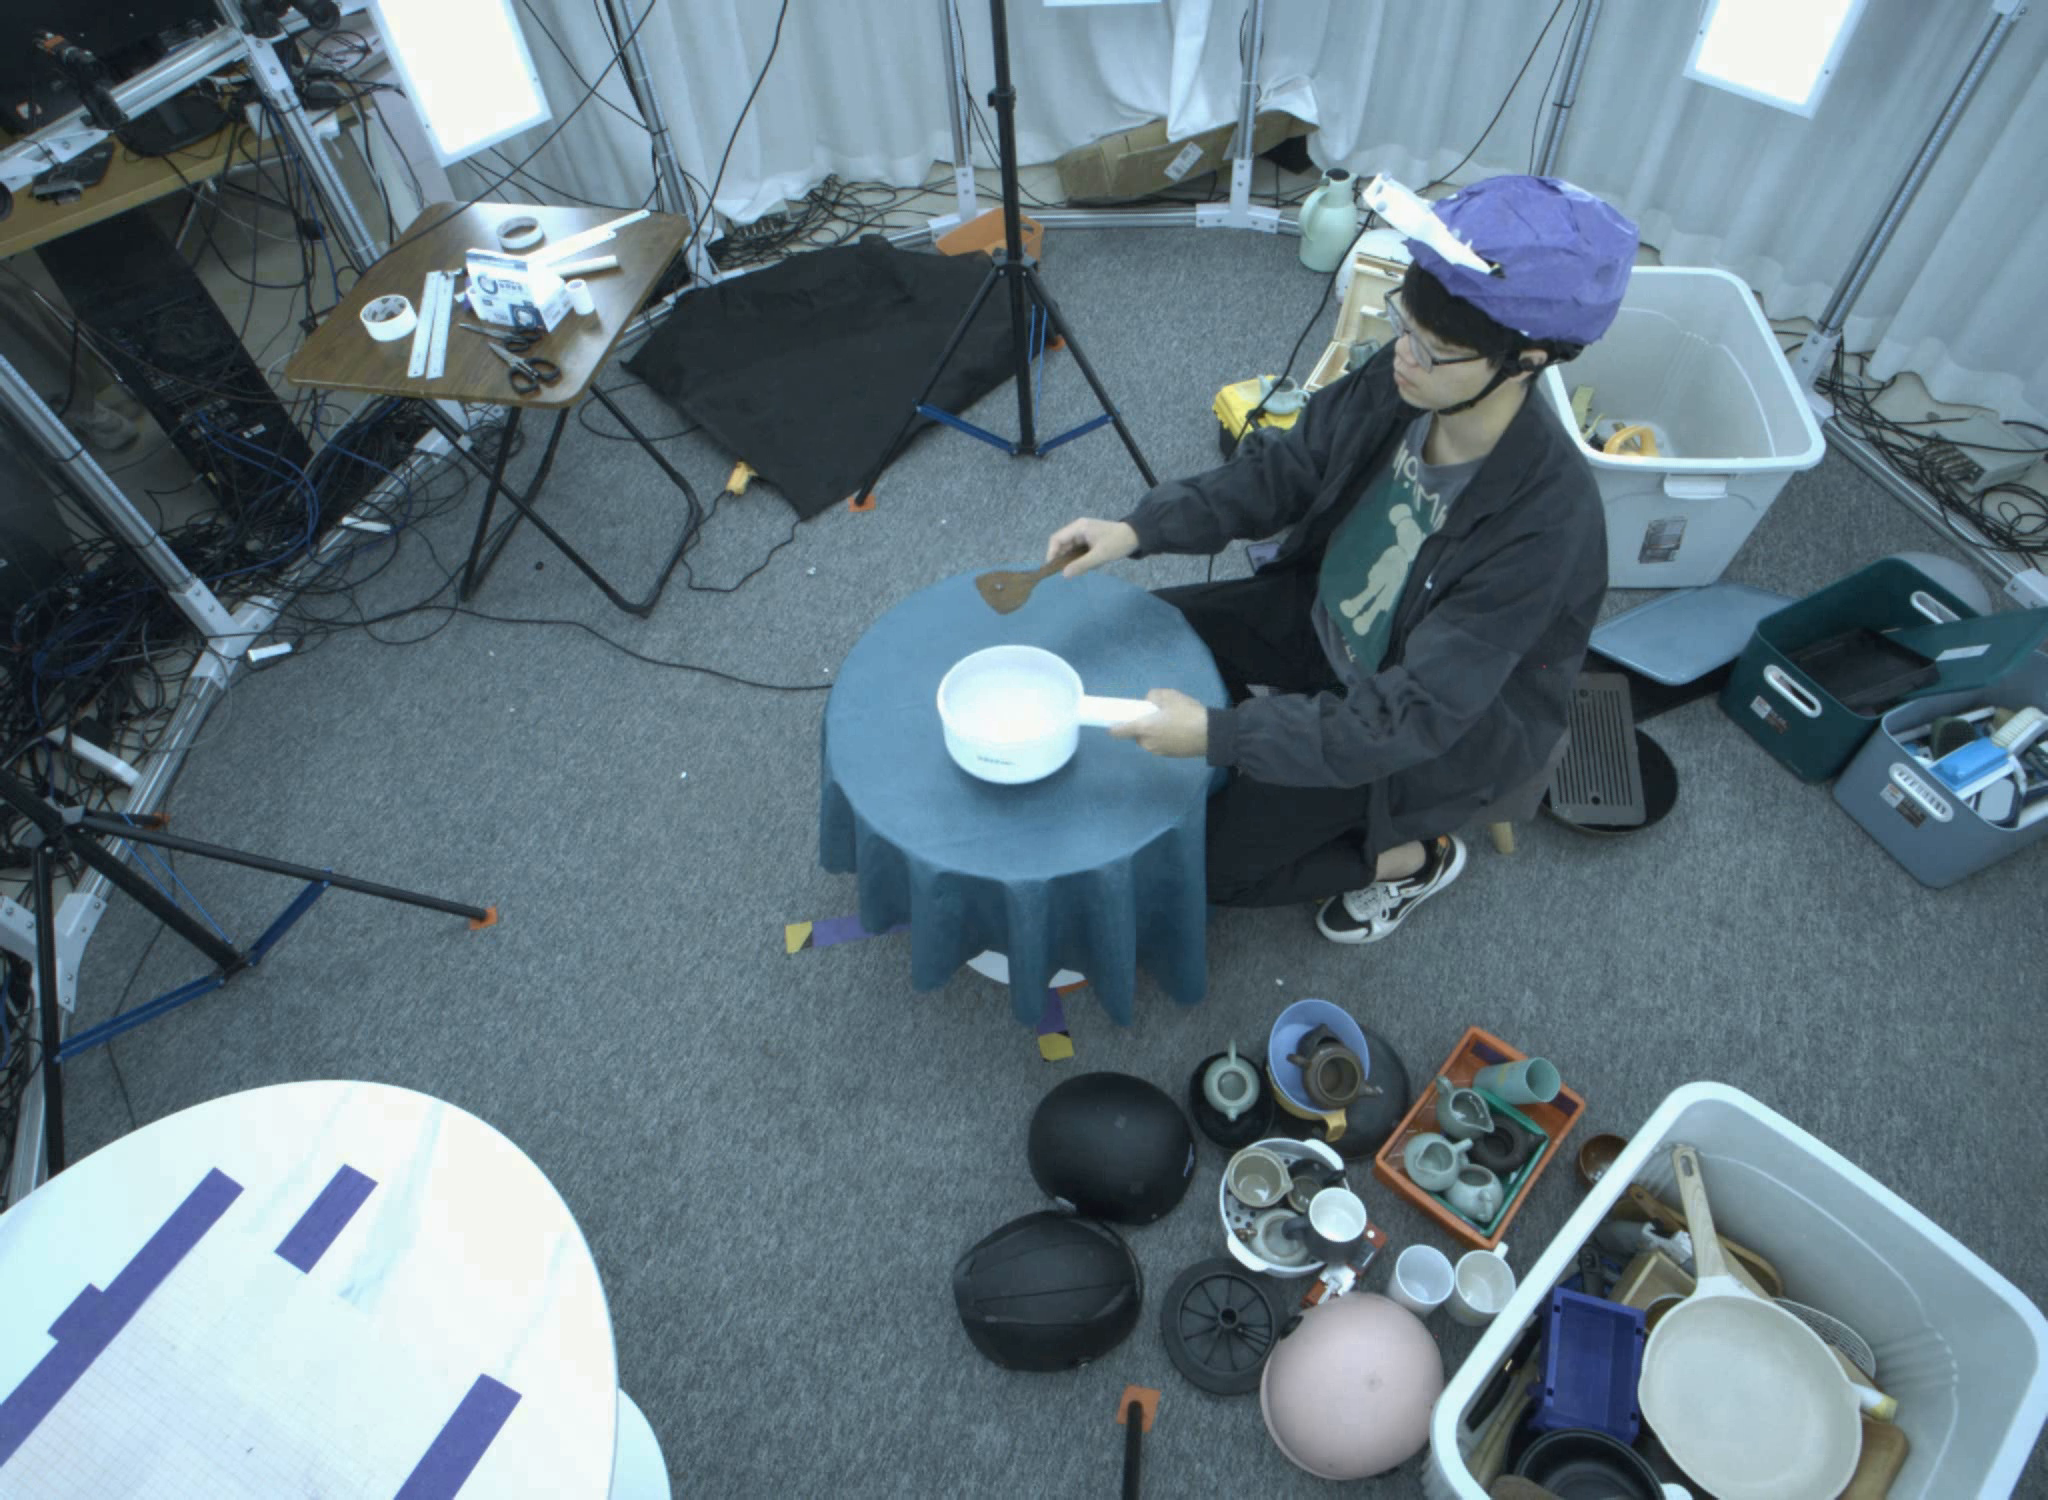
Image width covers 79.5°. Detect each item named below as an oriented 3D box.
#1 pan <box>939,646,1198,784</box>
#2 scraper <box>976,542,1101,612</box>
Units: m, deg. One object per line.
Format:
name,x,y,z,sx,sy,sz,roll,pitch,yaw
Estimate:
pan,0.060,-0.036,1.711,0.354,0.103,0.200,7,46,4
scraper,0.027,-0.262,1.790,0.214,0.011,0.075,-27,74,-29
